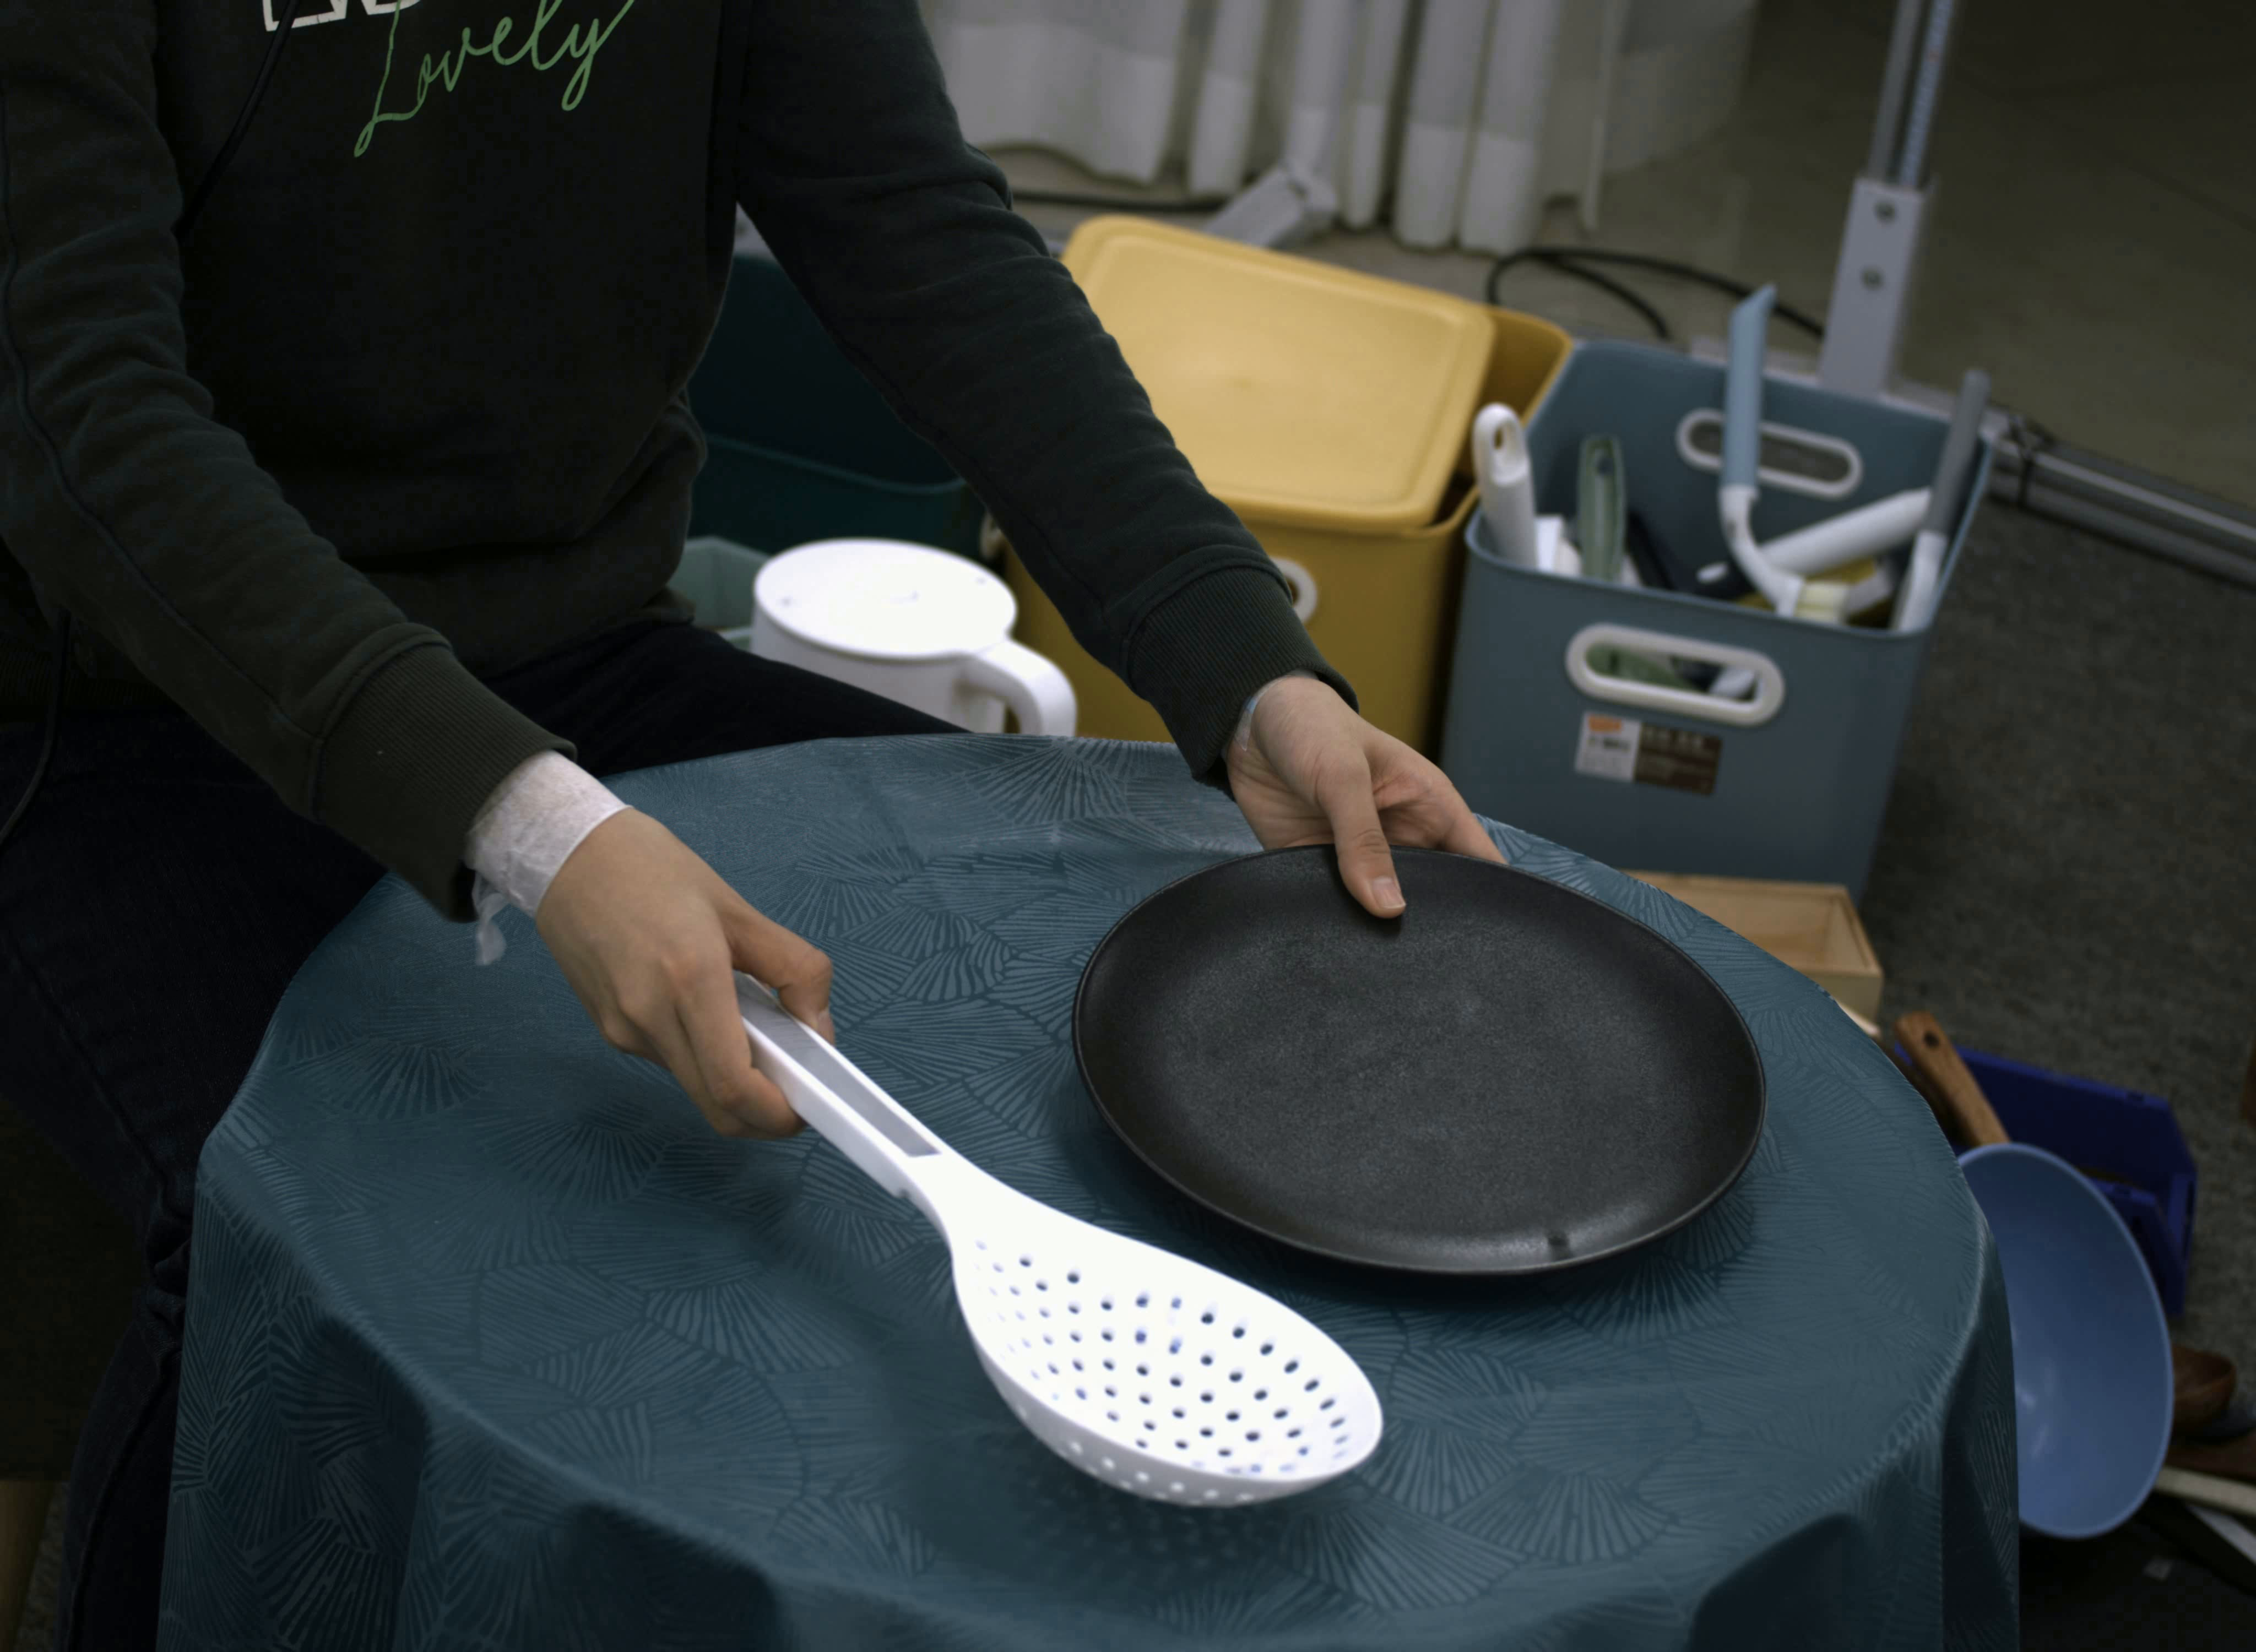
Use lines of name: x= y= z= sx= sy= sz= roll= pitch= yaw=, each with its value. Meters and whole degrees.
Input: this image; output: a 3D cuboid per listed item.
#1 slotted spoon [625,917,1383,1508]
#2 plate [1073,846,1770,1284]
slotted spoon: x=-0.055 y=0.119 z=1.702 sx=0.135 sy=0.045 sz=0.353 roll=-1 pitch=33 yaw=-44
plate: x=0.101 y=0.085 z=1.847 sx=0.243 sy=0.023 sz=0.246 roll=4 pitch=35 yaw=-3
